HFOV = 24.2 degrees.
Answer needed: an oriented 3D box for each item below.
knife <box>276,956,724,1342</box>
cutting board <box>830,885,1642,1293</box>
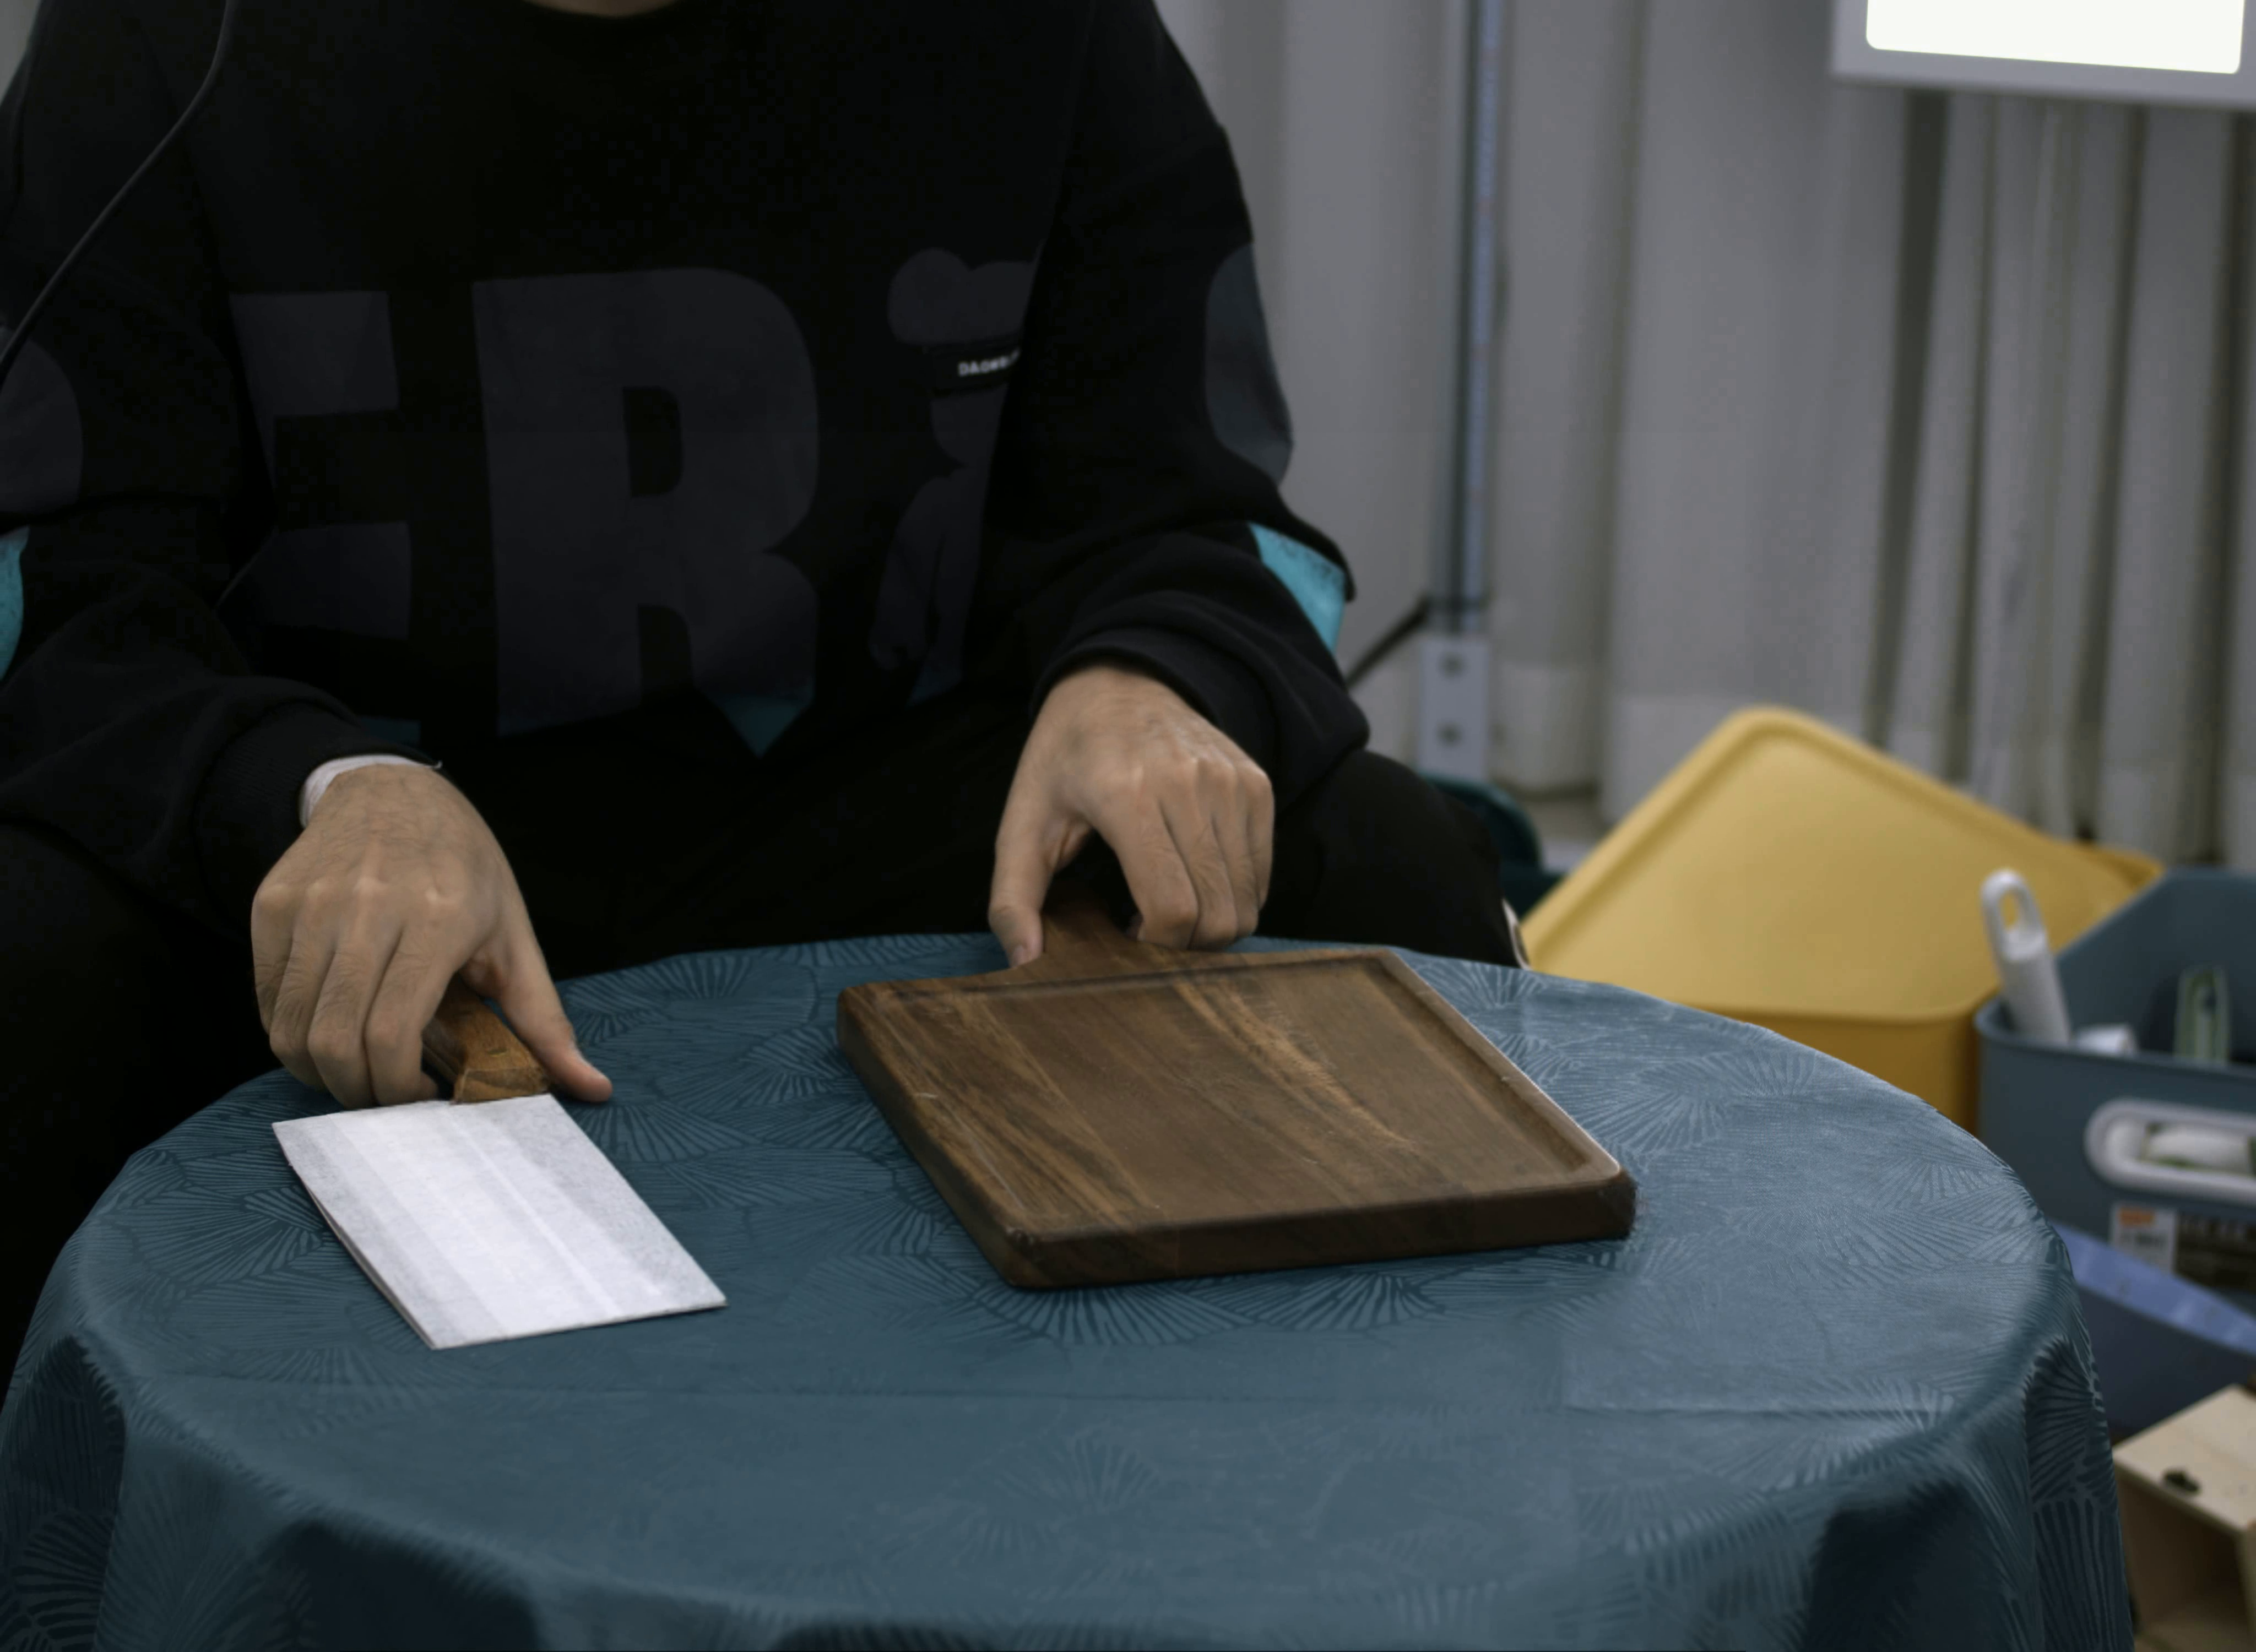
[{"bbox_3d":[-0.212,0.099,1.636,0.093,0.021,0.302,-8,20,-21],"label":"knife"},{"bbox_3d":[0.015,0.076,1.715,0.201,0.023,0.348,-4,16,-15],"label":"cutting board"}]
